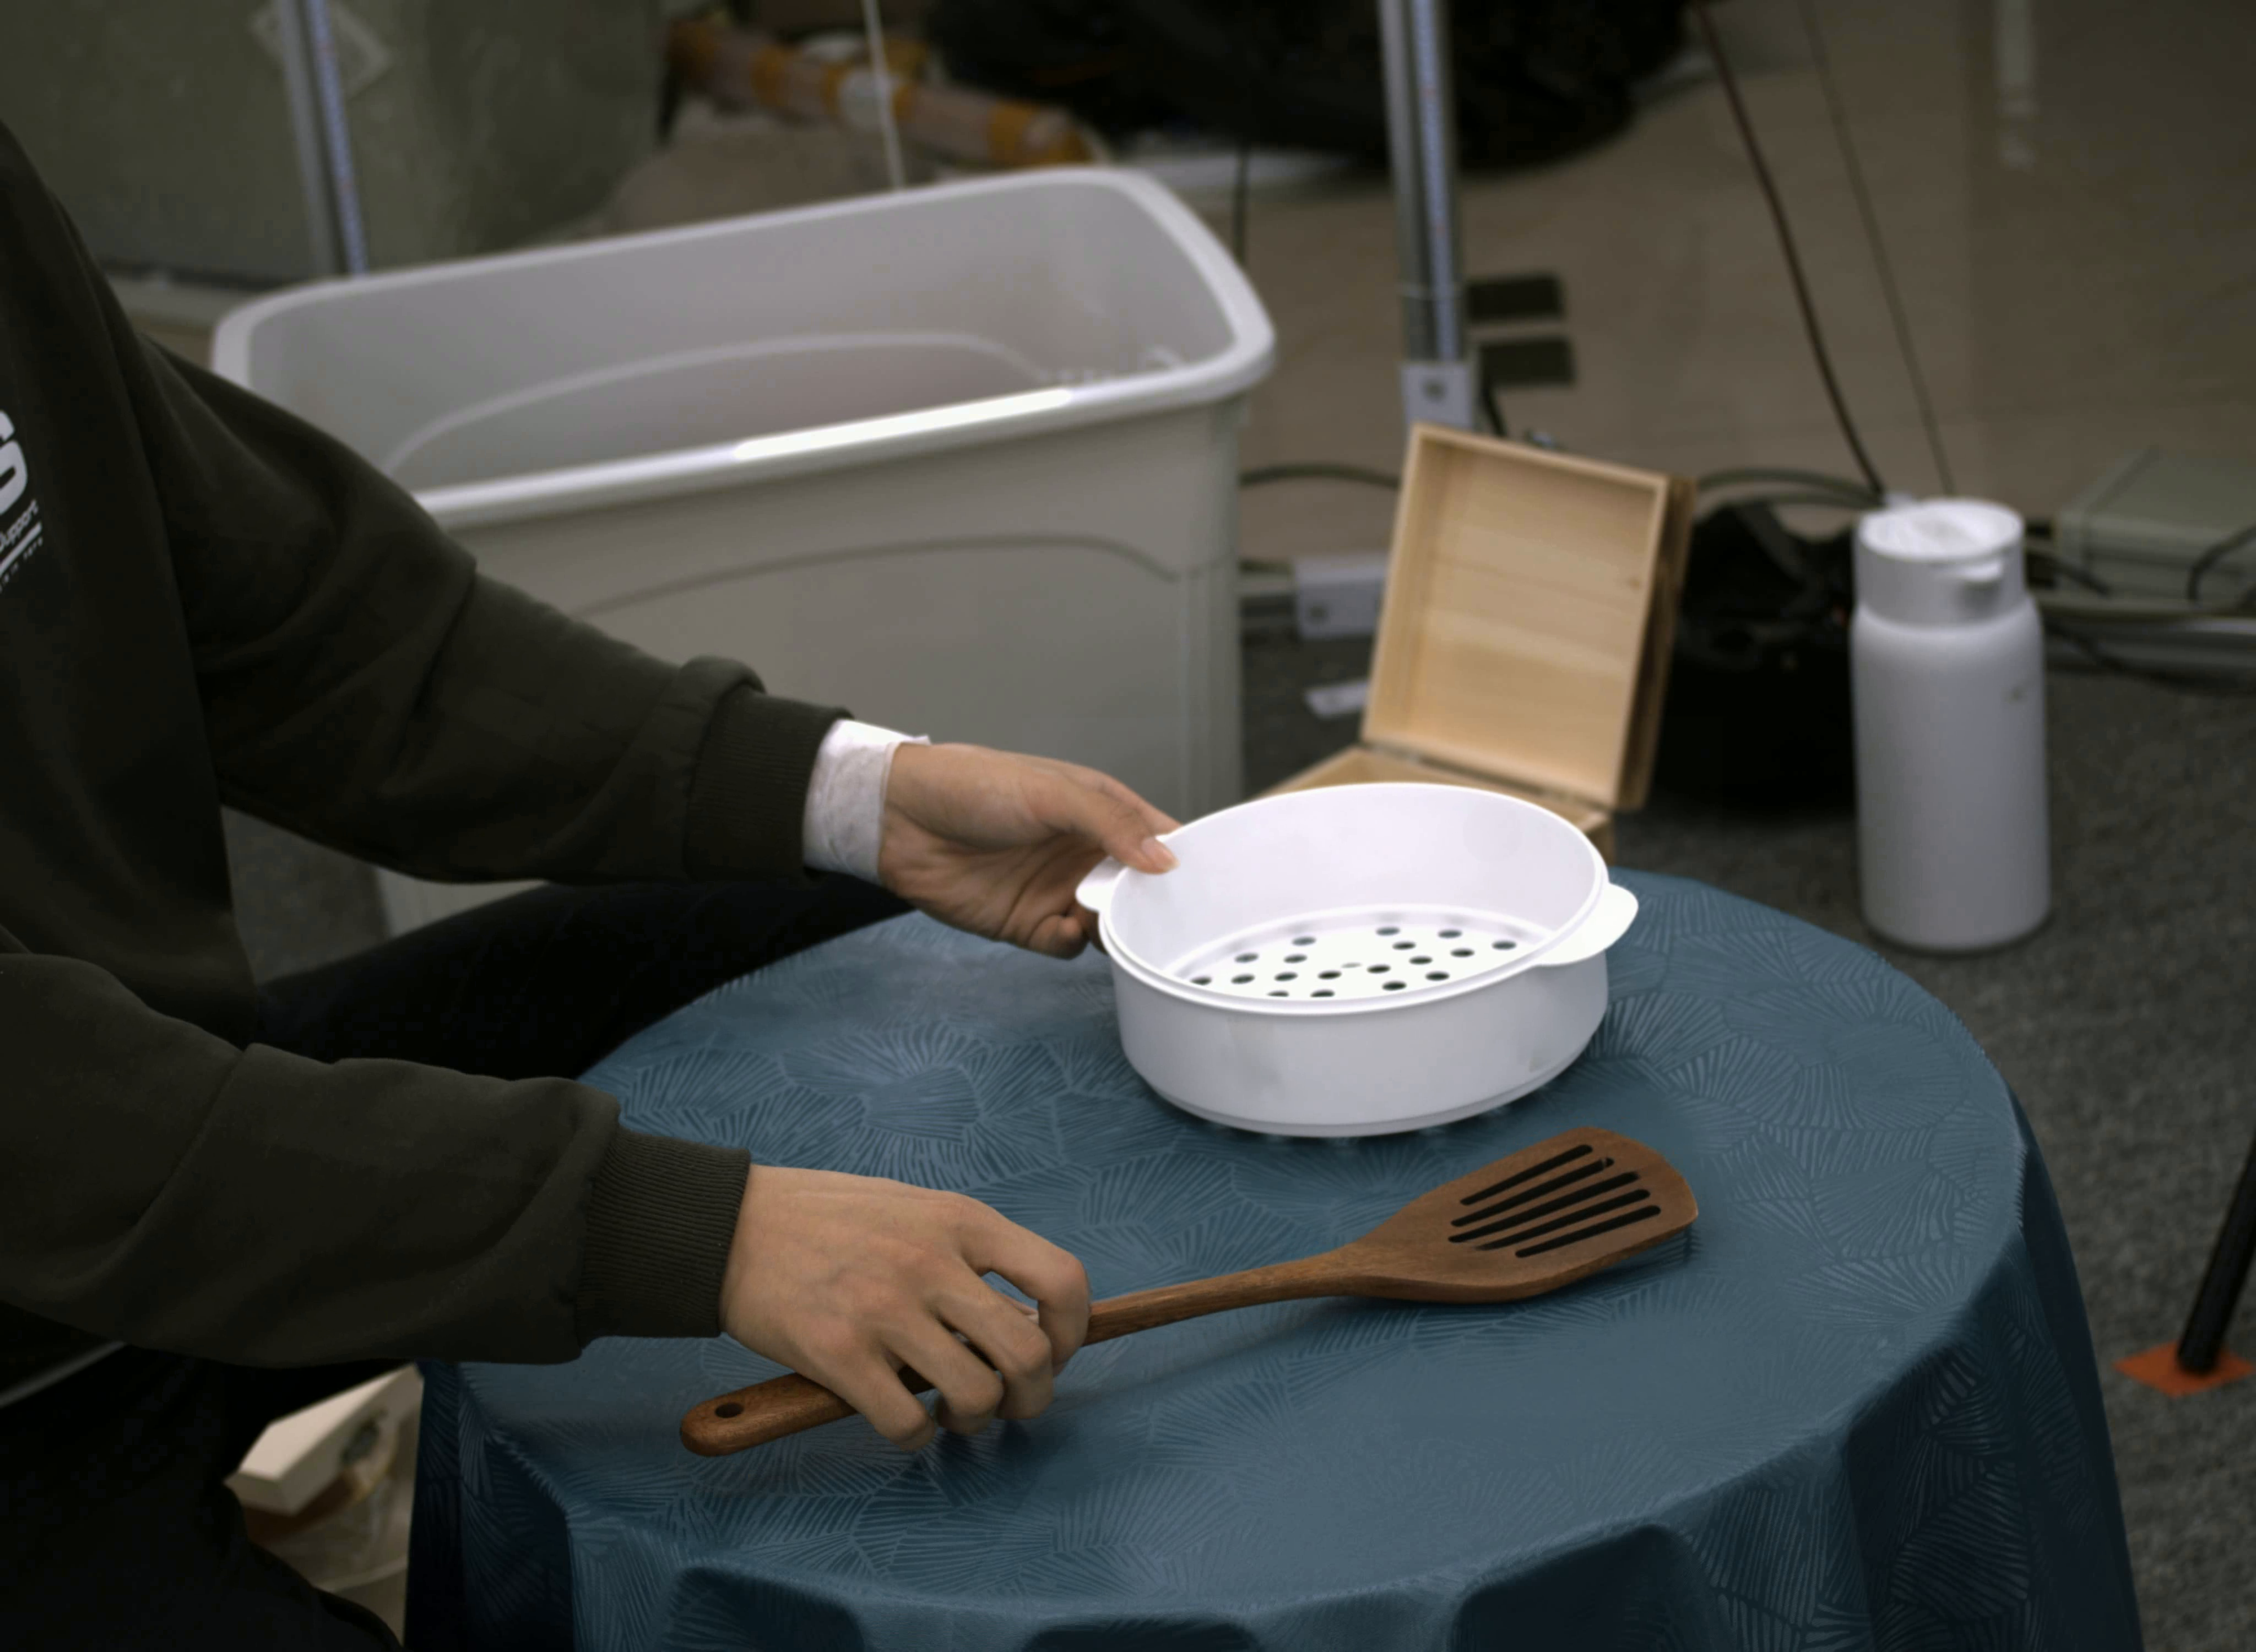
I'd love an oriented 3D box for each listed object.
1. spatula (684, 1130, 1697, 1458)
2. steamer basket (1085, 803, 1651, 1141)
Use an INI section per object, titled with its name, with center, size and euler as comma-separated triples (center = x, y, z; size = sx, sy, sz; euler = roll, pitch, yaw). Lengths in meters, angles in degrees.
[spatula]
center = 0.023, 0.173, 2.028
size = 0.384, 0.024, 0.085
euler = -12, 27, -21
[steamer basket]
center = 0.096, 0.057, 2.229
size = 0.230, 0.070, 0.199
euler = 4, 24, 28
